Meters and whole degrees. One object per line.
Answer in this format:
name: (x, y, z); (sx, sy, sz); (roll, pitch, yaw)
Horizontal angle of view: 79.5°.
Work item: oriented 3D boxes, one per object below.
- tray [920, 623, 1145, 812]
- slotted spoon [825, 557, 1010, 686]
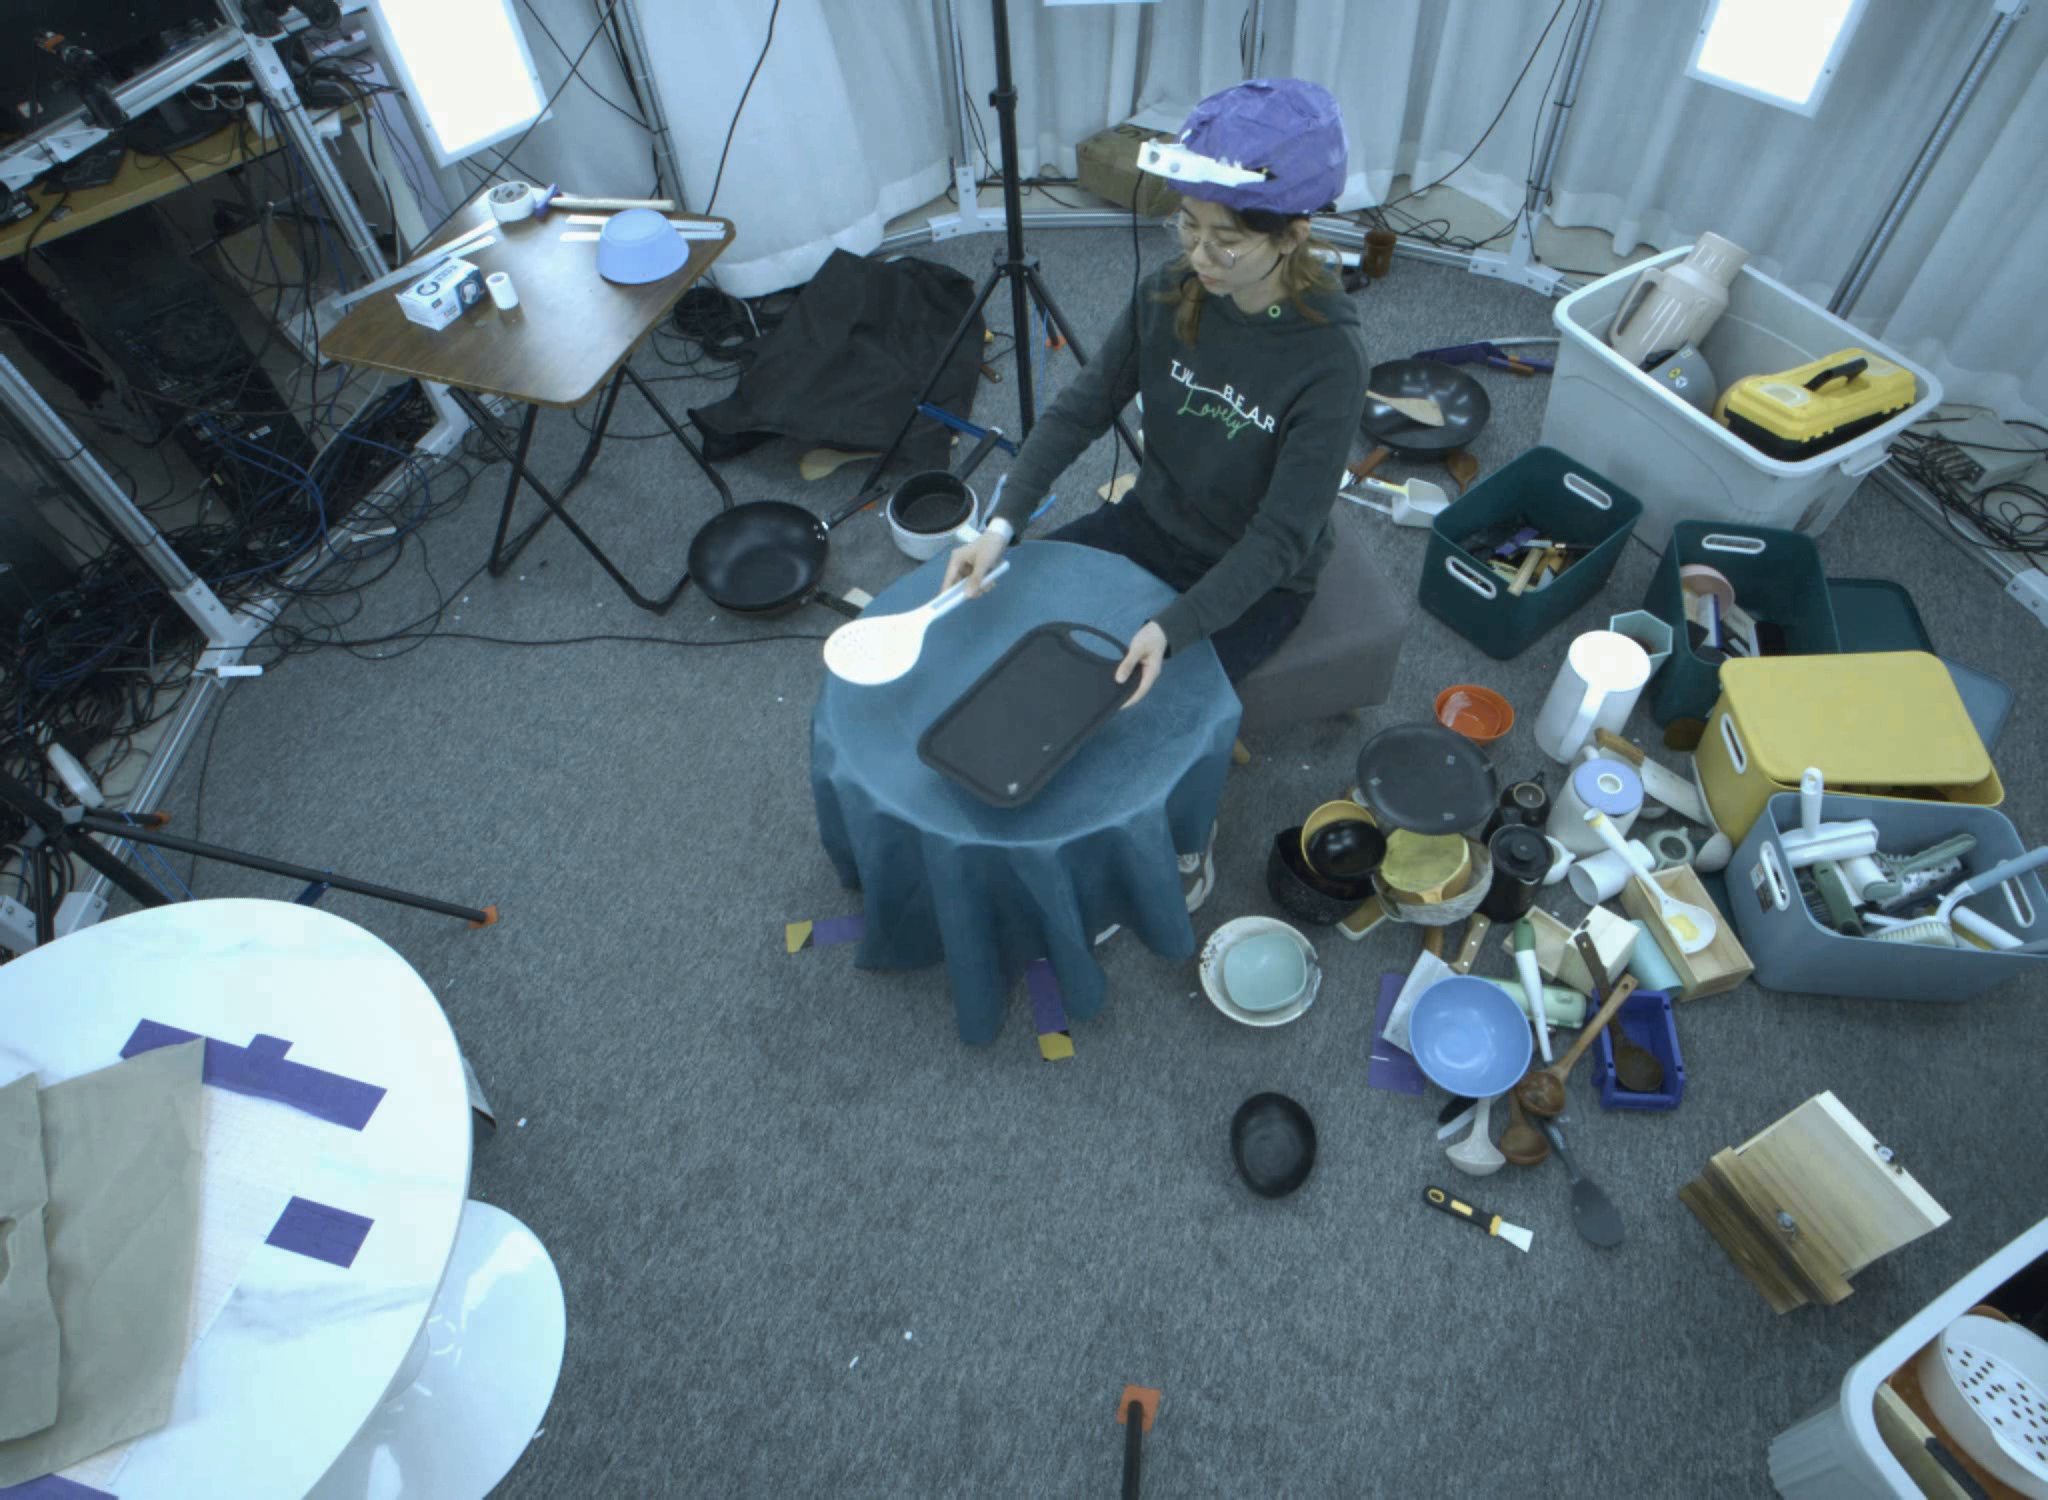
tray: (0.017, -0.059, 1.727); (0.207, 0.010, 0.327); (32, 65, 29)
slotted spoon: (-0.147, -0.198, 1.824); (0.134, 0.046, 0.352); (35, 60, 23)
